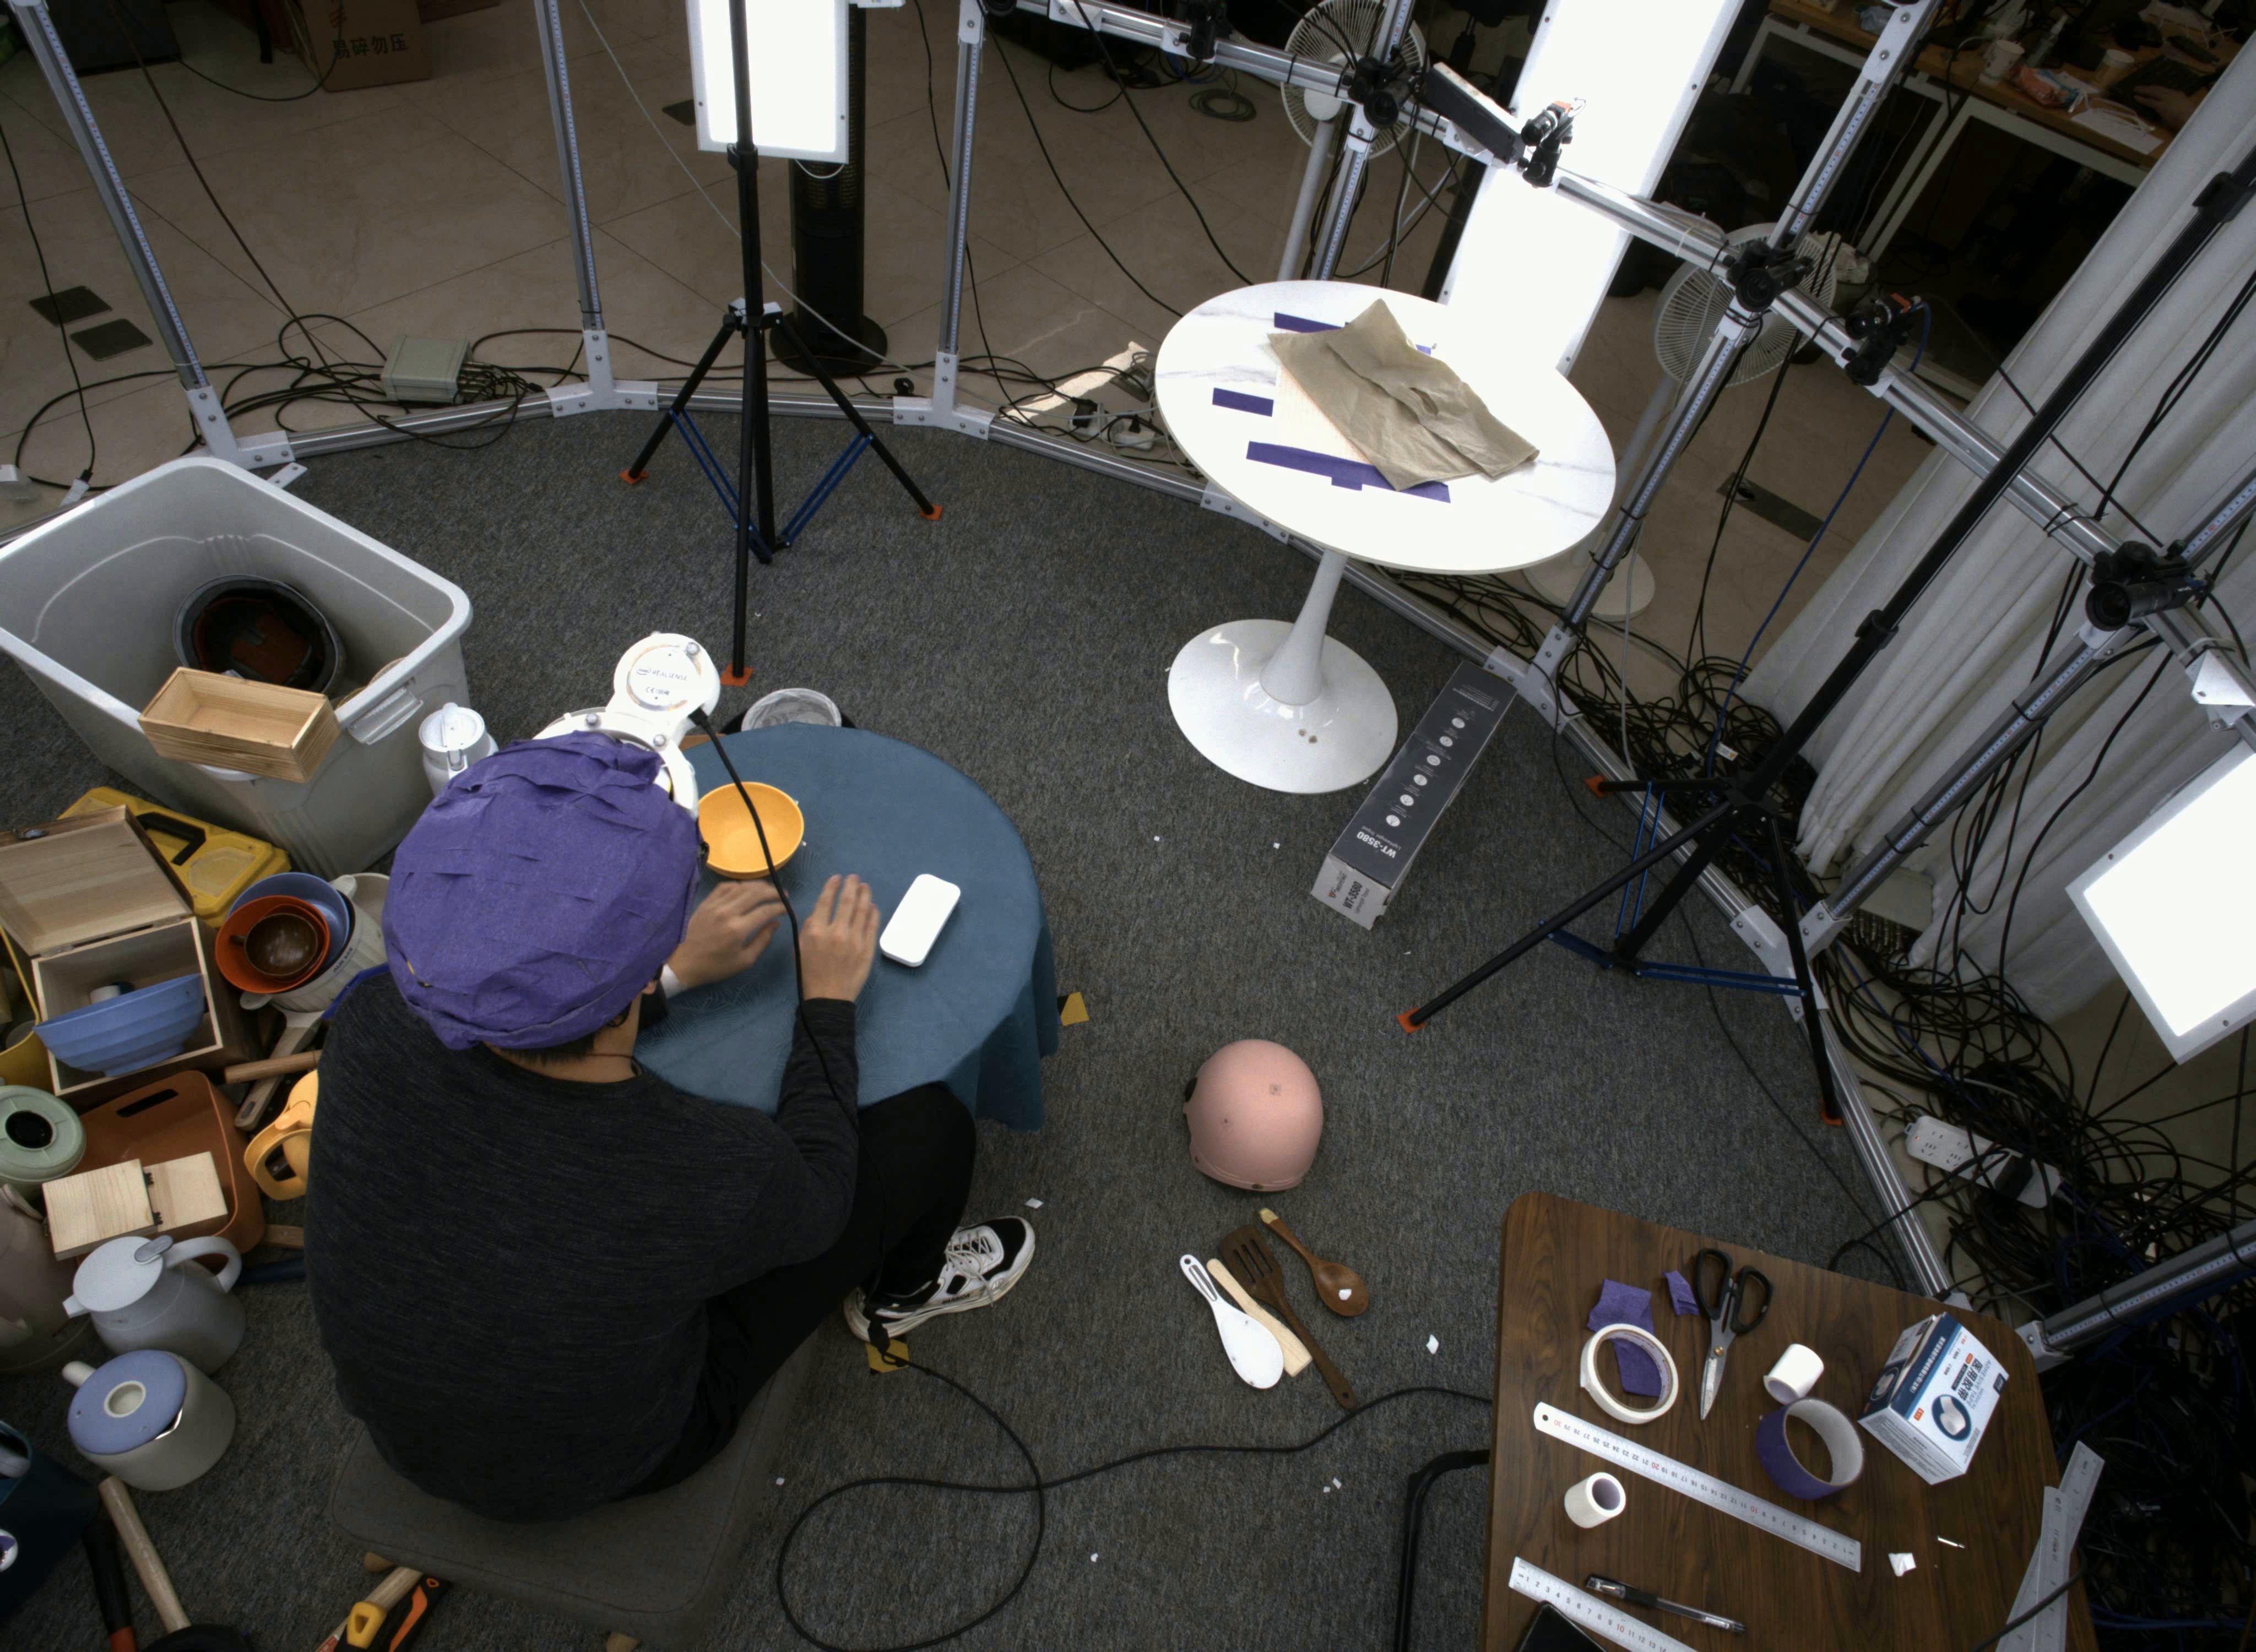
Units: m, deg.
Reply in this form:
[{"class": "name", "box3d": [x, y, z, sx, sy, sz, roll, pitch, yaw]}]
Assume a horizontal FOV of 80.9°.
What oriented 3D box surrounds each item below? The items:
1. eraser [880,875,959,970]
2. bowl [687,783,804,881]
[{"class": "eraser", "box3d": [-0.265, 0.118, 1.652, 0.062, 0.035, 0.130, 22, 51, 4]}, {"class": "bowl", "box3d": [-0.486, 0.017, 1.652, 0.145, 0.061, 0.143, 7, 52, -7]}]
